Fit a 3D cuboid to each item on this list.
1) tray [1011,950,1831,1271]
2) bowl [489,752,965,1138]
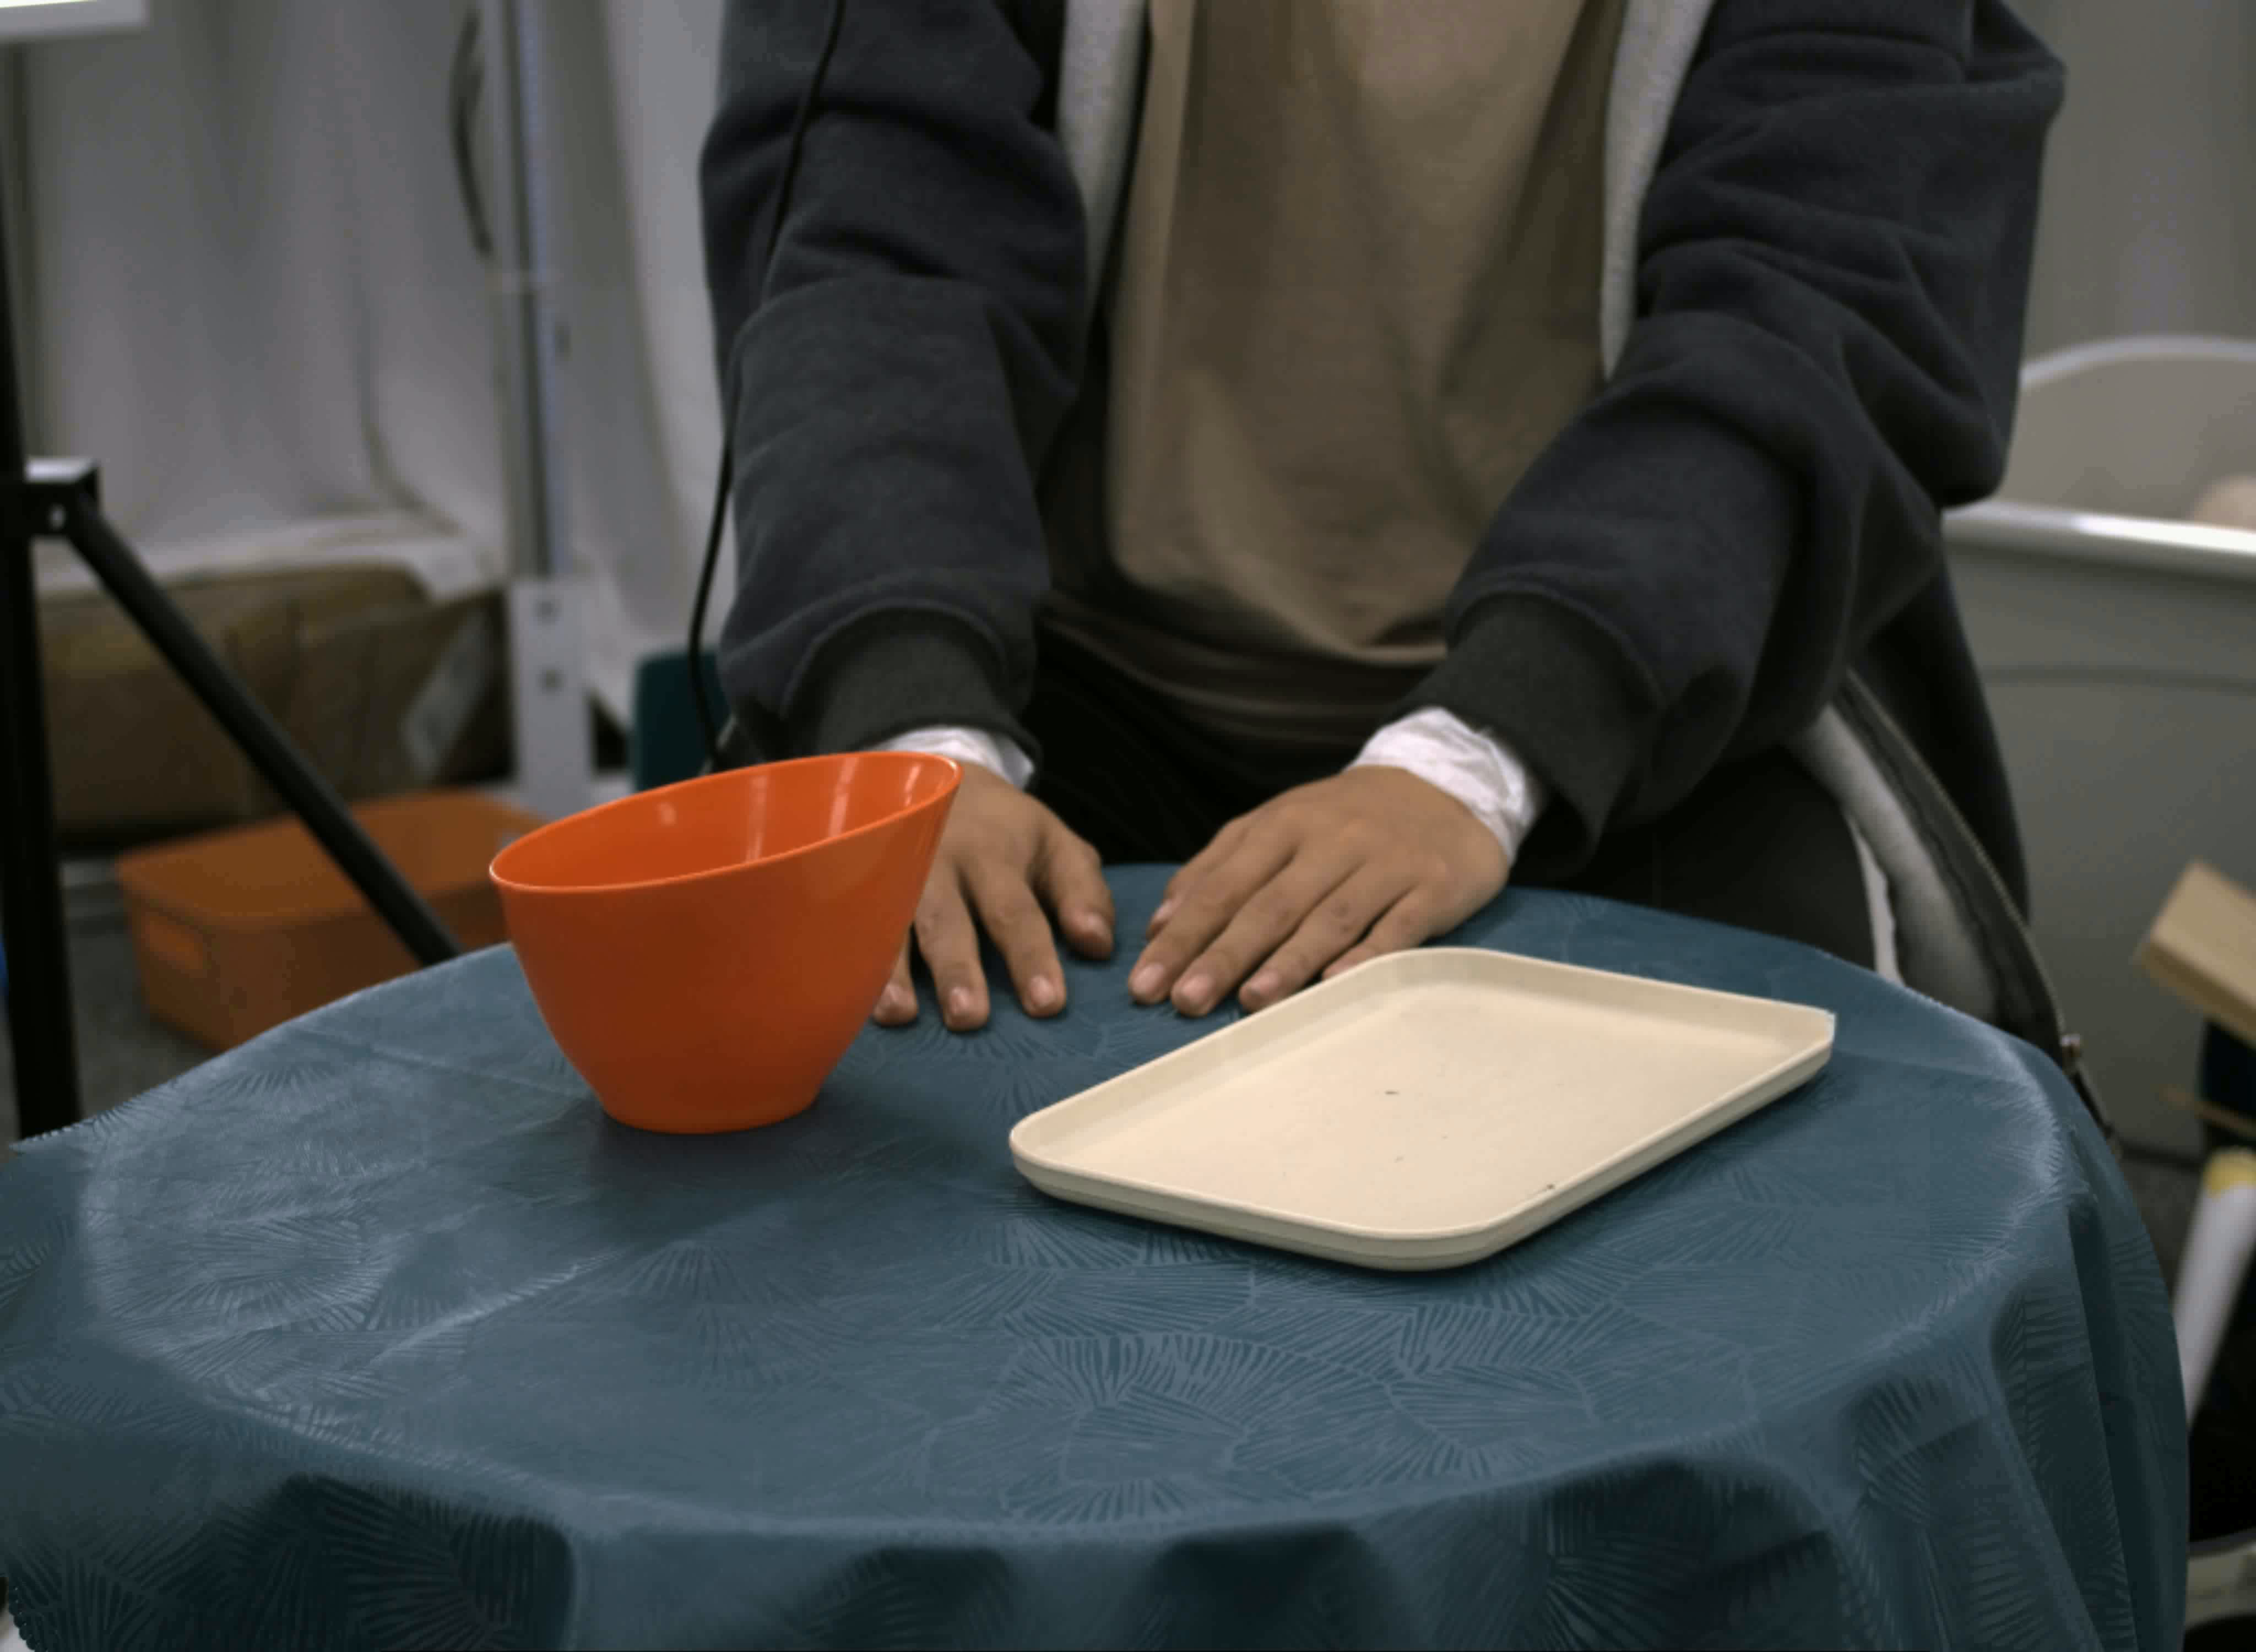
[{"bbox_3d":[0.091,0.084,1.597,0.175,0.017,0.234,9,19,37],"label":"tray"},{"bbox_3d":[-0.122,0.038,1.644,0.147,0.104,0.149,-3,17,-1],"label":"bowl"}]
